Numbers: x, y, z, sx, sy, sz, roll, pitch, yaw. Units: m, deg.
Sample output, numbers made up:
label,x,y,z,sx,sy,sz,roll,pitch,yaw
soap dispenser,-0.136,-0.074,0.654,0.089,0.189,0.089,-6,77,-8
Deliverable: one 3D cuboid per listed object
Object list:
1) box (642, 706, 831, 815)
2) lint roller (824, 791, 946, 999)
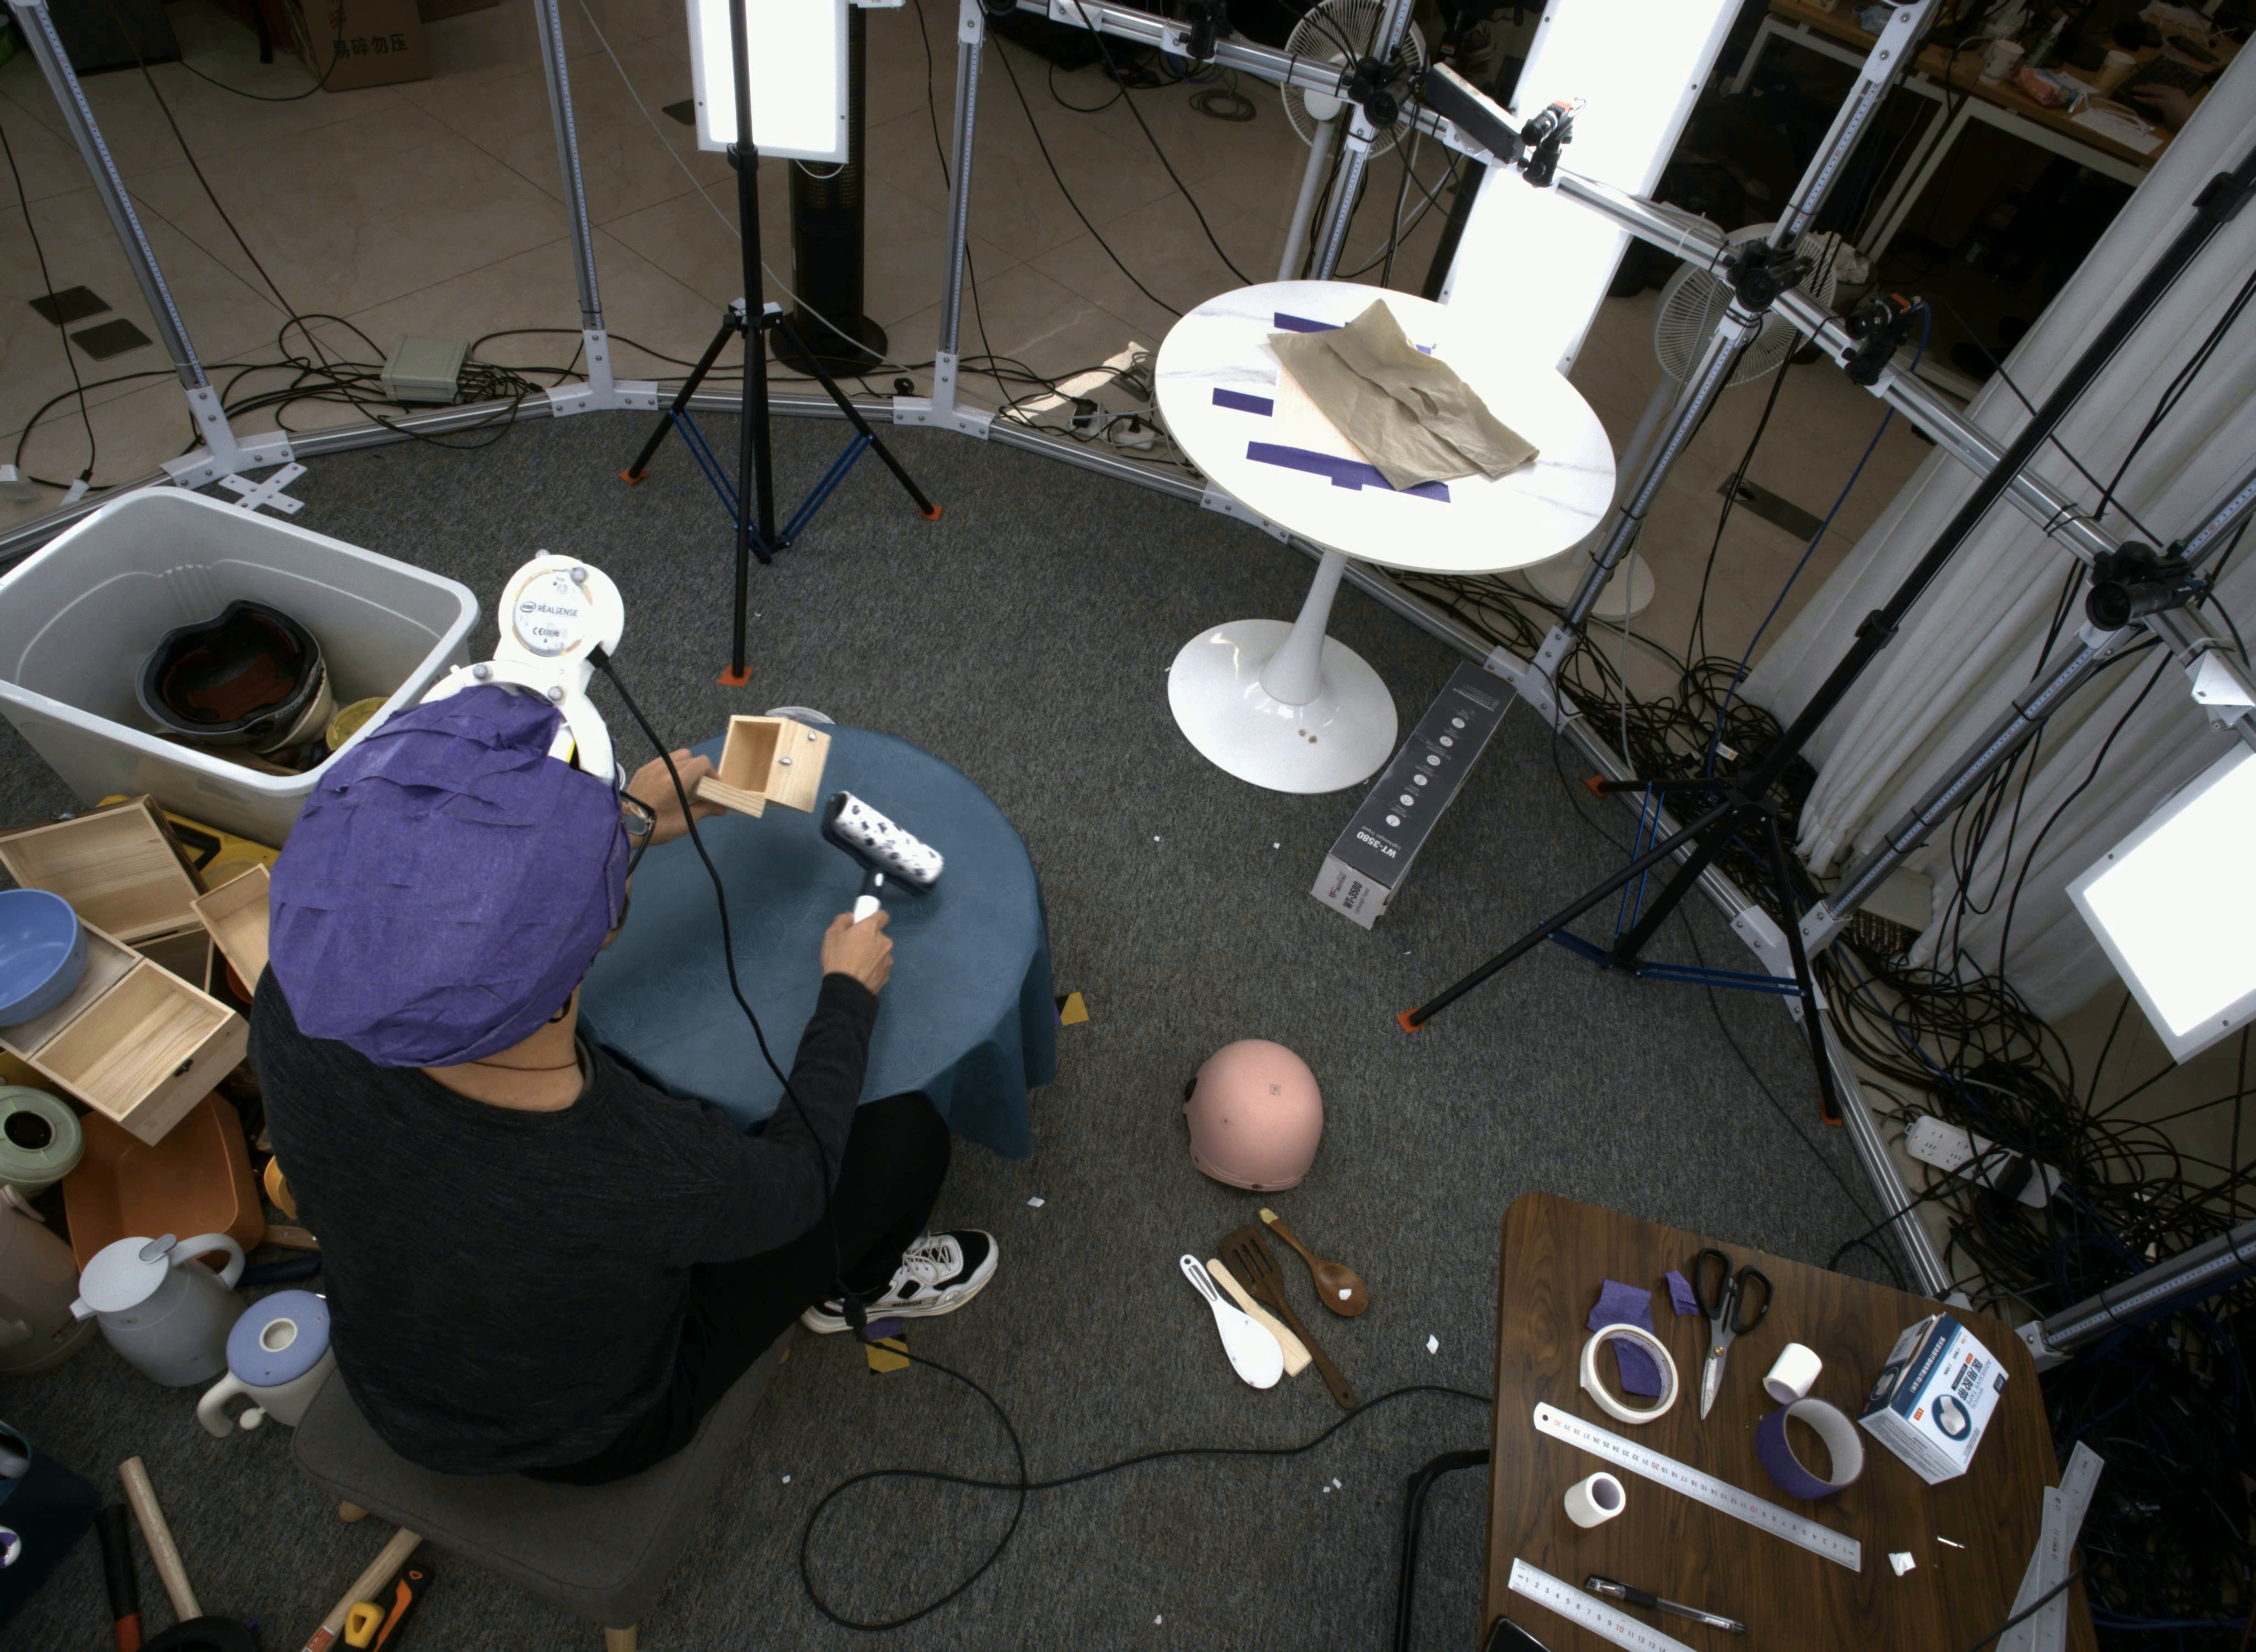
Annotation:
label,x,y,z,sx,sy,sz,roll,pitch,yaw
box,-0.470,-0.085,1.555,0.099,0.190,0.134,6,81,33
lint roller,-0.310,0.096,1.581,0.182,0.049,0.243,37,43,-36
